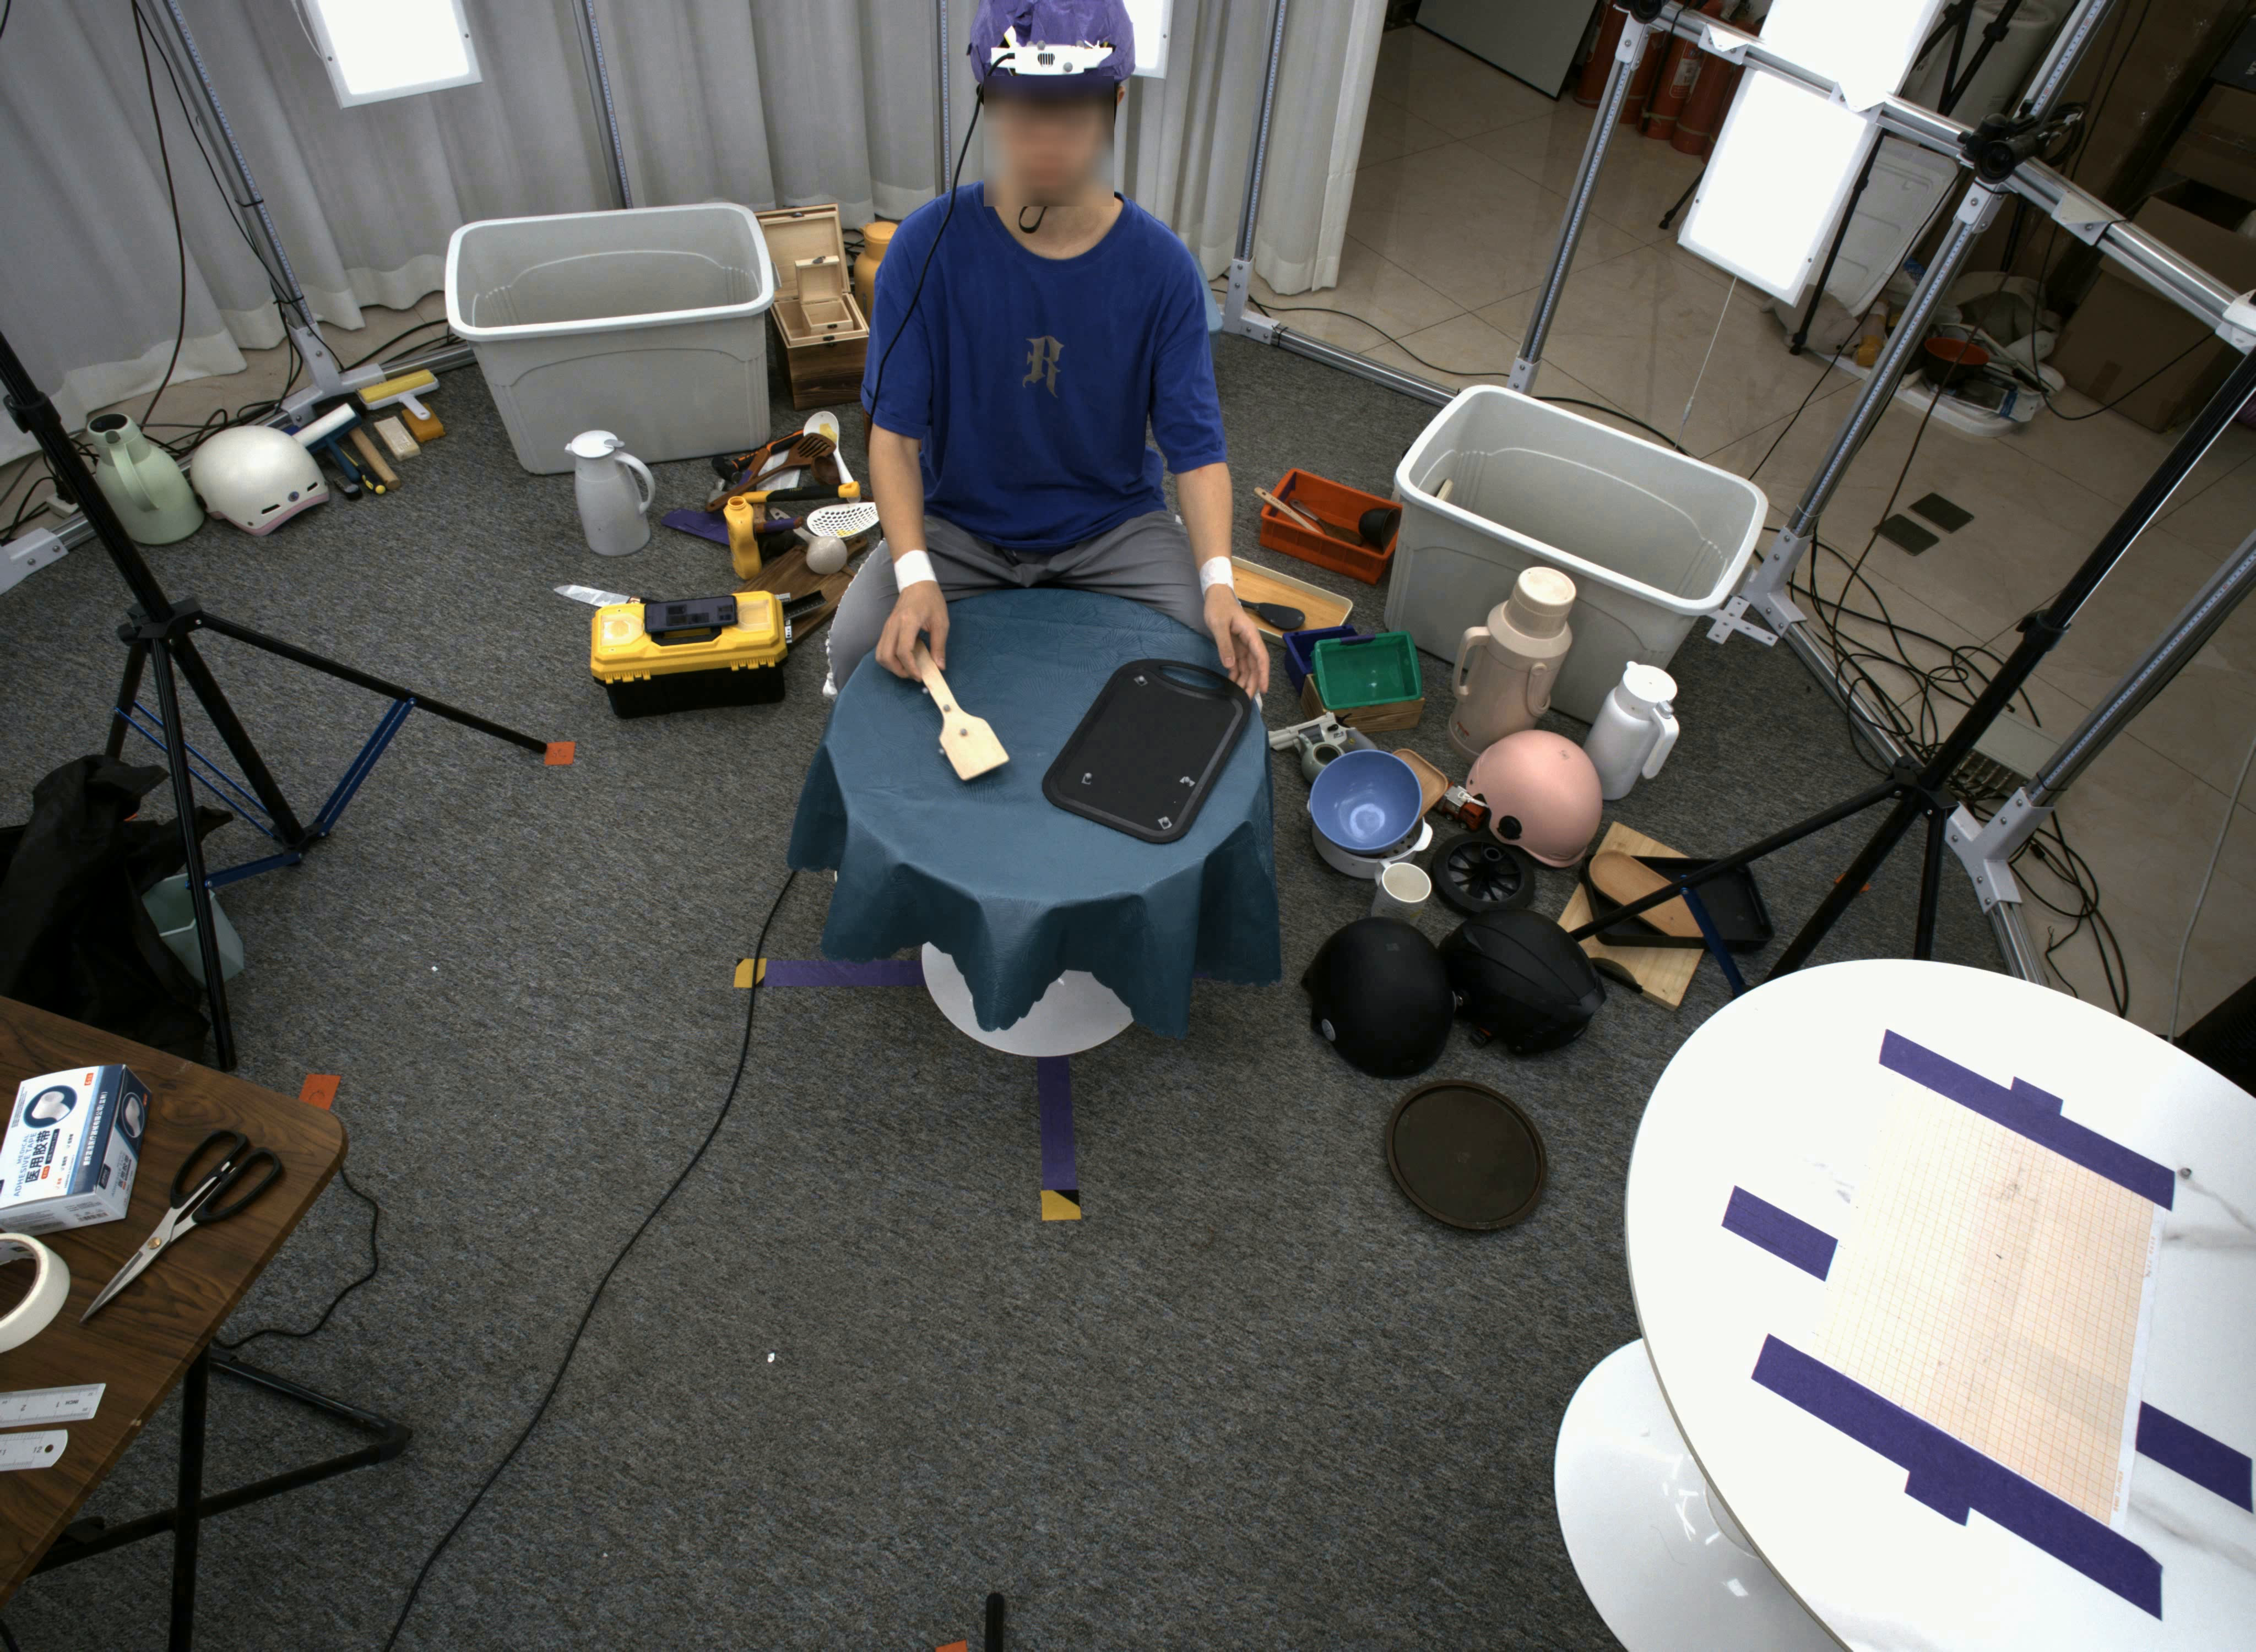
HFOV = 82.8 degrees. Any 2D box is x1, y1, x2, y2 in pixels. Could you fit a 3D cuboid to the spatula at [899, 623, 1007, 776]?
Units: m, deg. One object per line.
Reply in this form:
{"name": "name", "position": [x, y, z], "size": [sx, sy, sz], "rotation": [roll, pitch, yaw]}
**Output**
{"name": "spatula", "position": [-0.256, -0.182, 1.780], "size": [0.072, 0.010, 0.299], "rotation": [-24, 56, -11]}

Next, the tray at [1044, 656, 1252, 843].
{"name": "tray", "position": [0.034, -0.120, 1.768], "size": [0.212, 0.009, 0.331], "rotation": [21, 53, 15]}
